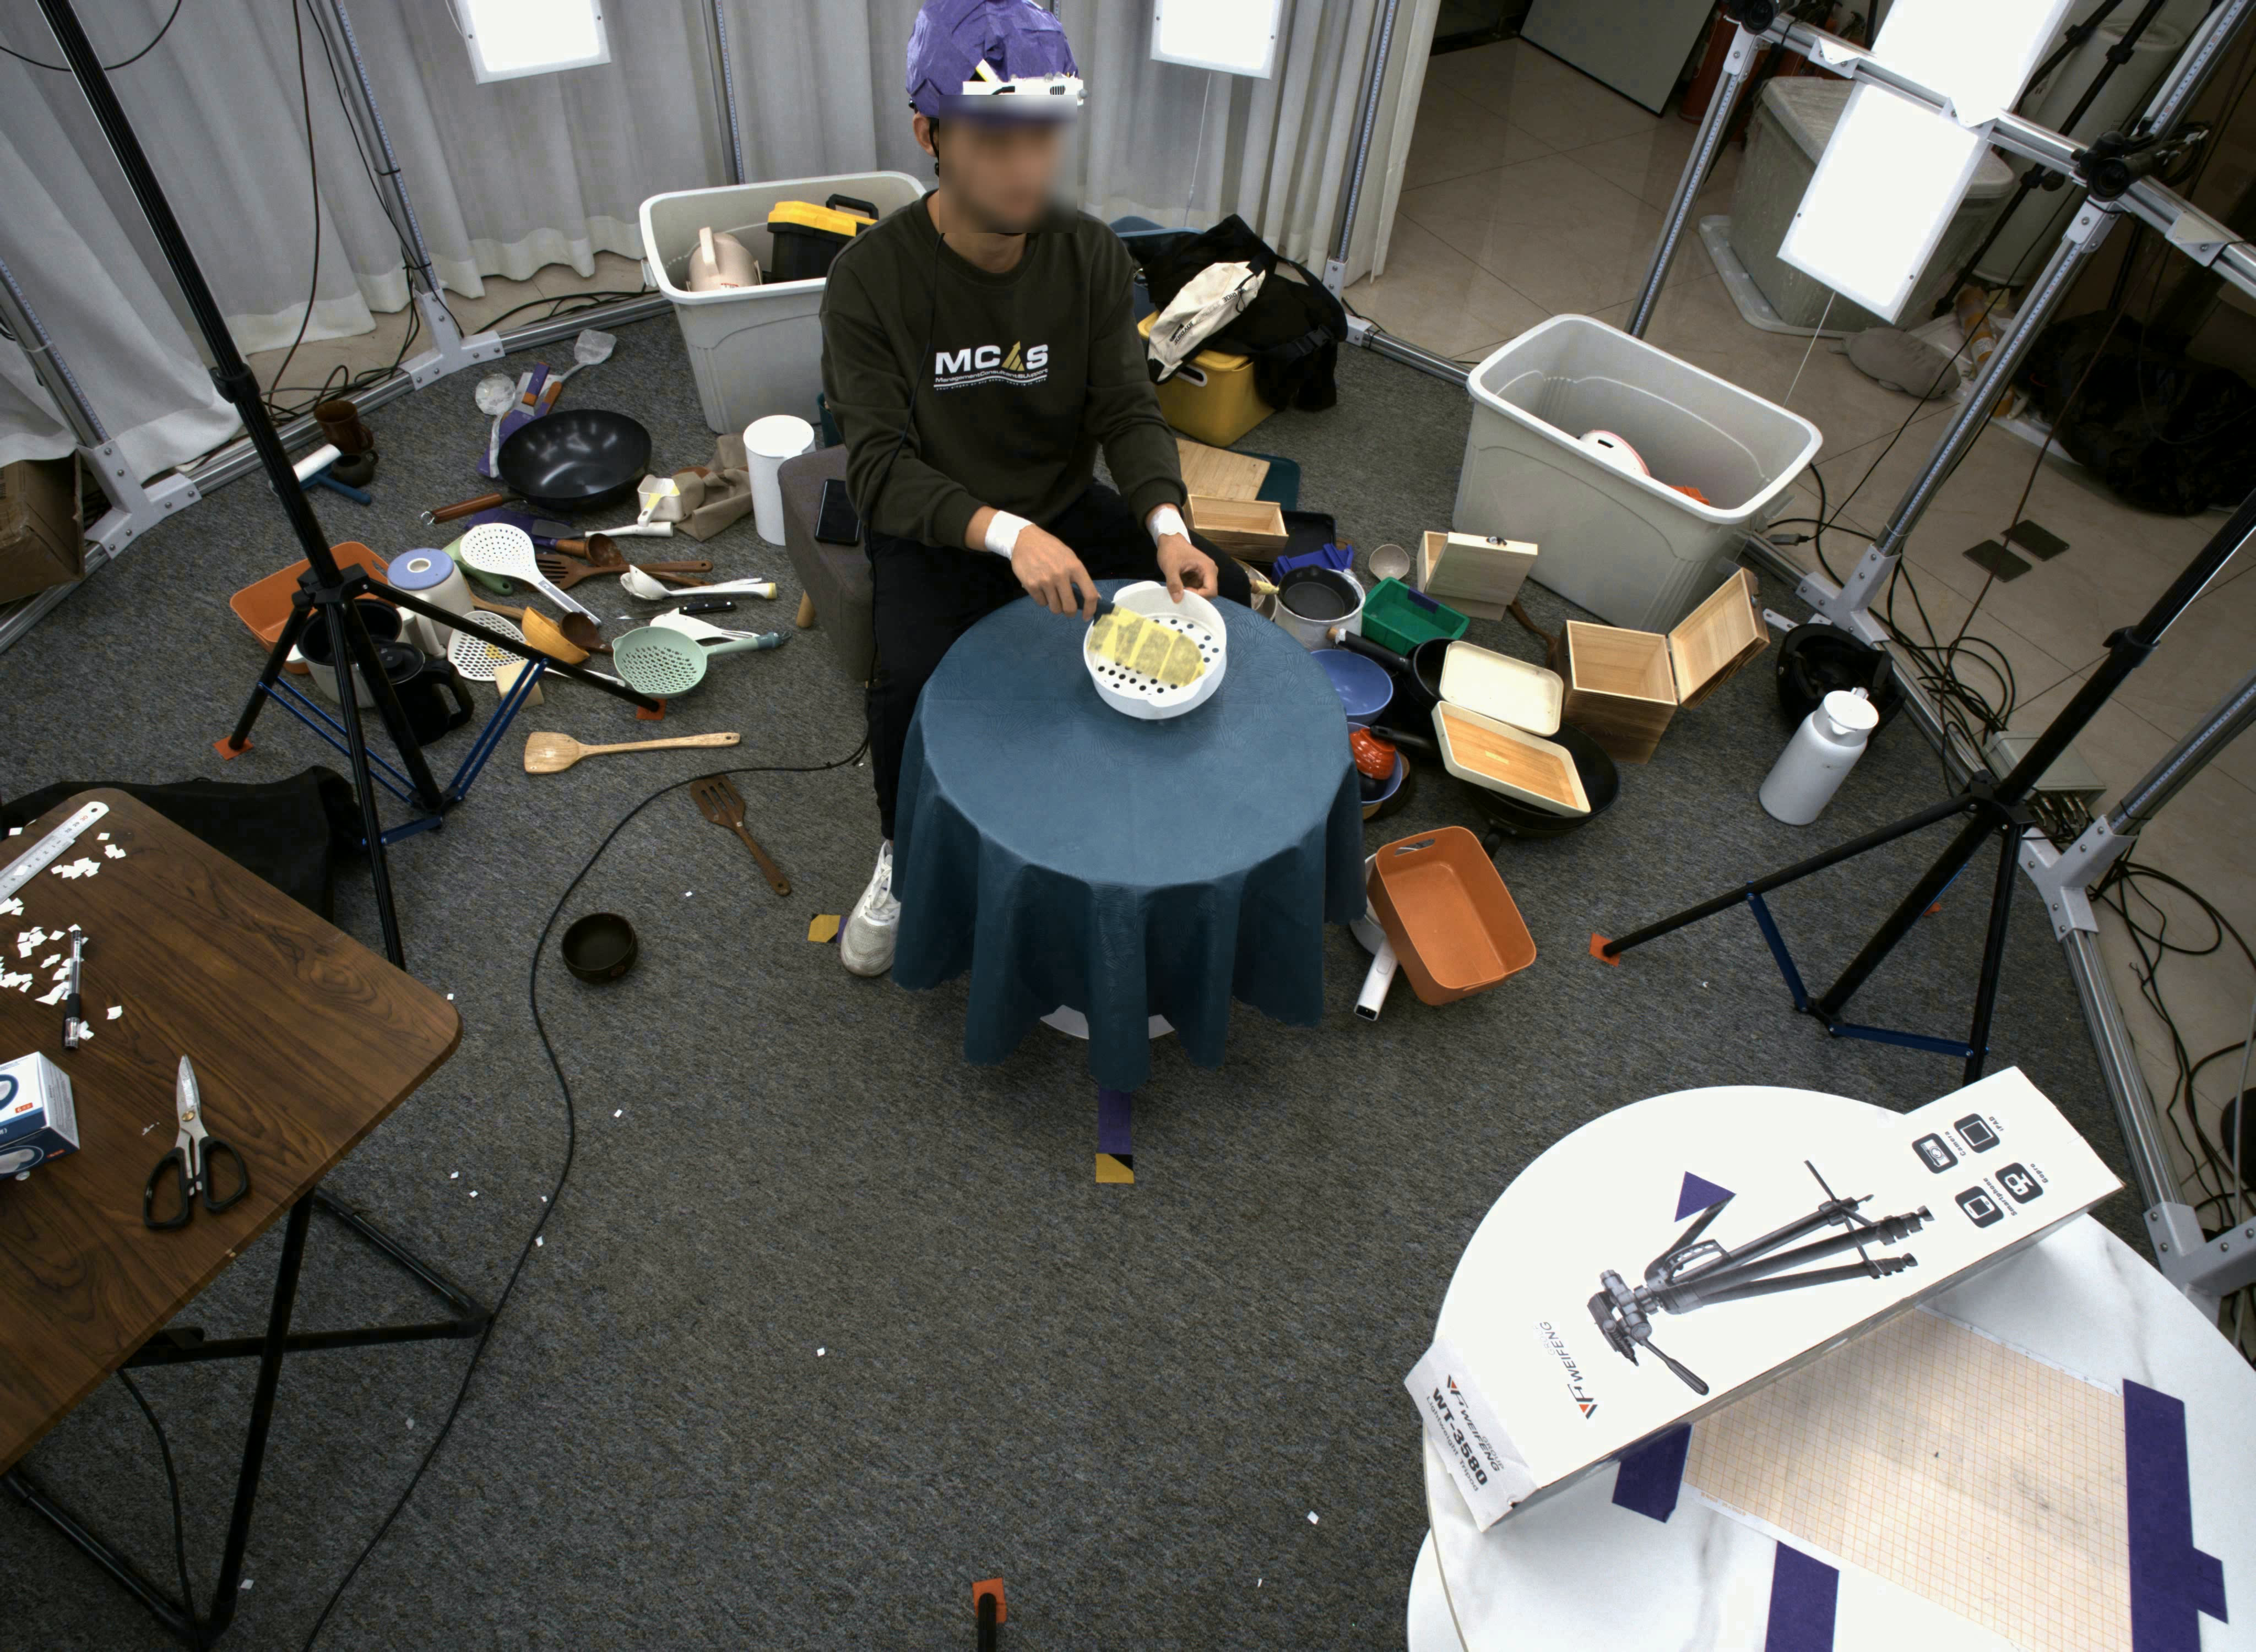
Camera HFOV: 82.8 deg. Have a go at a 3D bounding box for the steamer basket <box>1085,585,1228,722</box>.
[{"bbox_3d":[0.043,-0.239,1.813,0.202,0.067,0.236,-15,54,-1],"label":"steamer basket"}]

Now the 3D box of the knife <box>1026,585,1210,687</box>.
[{"bbox_3d":[-0.017,-0.264,1.790,0.290,0.027,0.081,25,82,8],"label":"knife"}]
